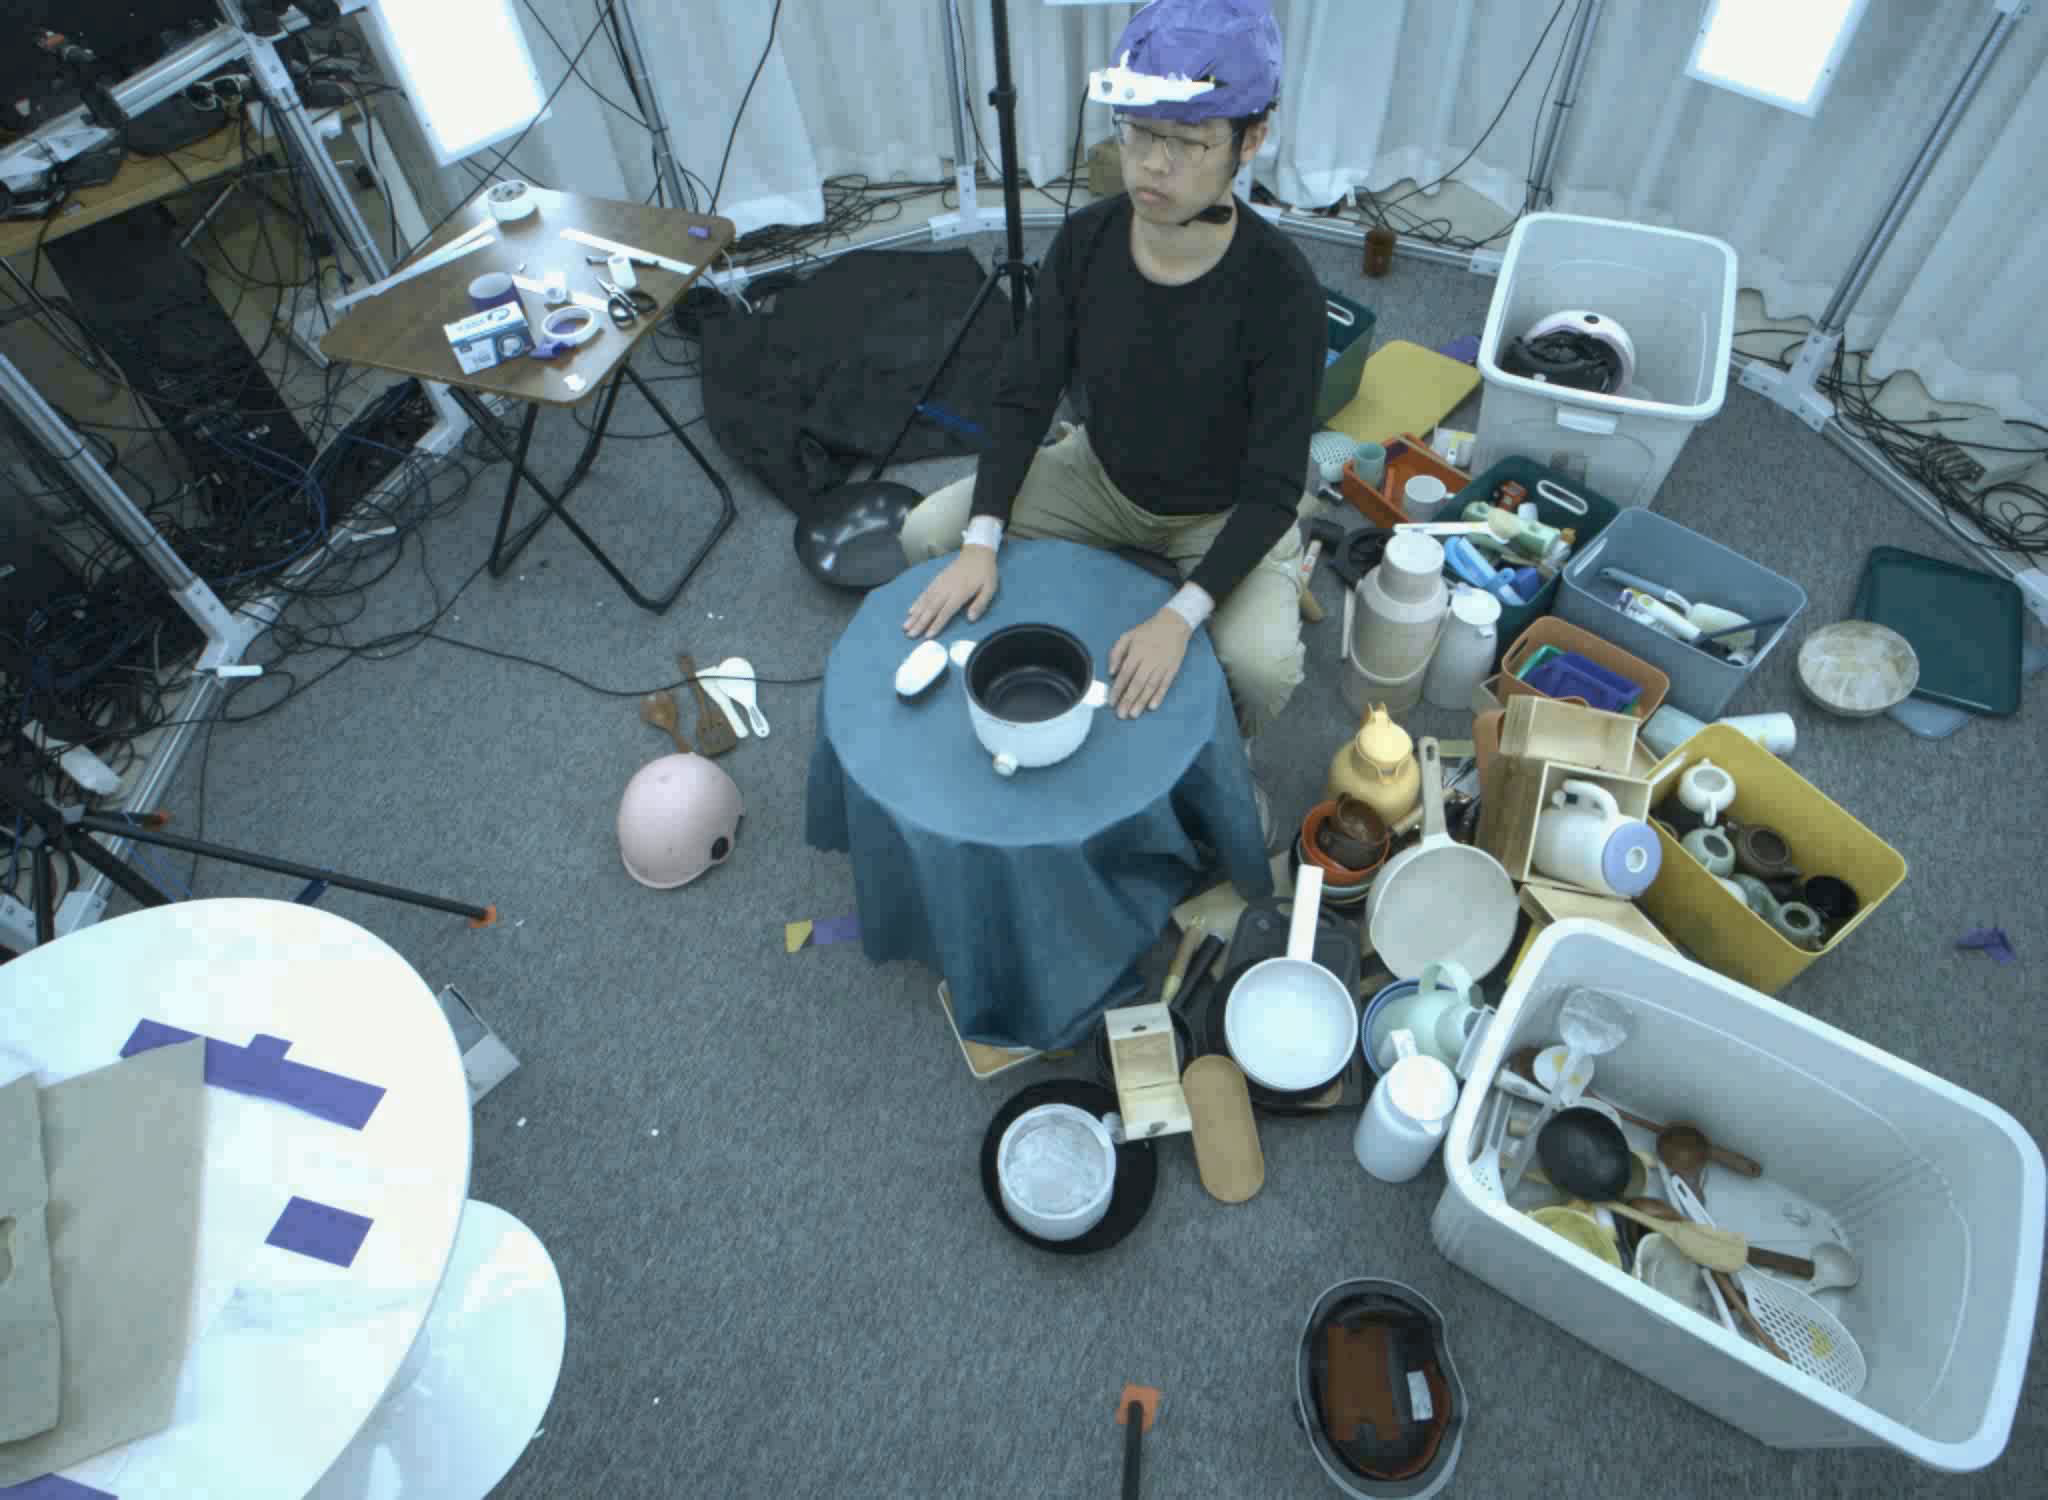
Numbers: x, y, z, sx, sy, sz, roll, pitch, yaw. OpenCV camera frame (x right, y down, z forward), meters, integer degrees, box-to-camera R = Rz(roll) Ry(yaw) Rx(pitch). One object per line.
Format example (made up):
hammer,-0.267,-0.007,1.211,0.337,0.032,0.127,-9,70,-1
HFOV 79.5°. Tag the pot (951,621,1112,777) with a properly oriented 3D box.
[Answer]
pot,0.010,-0.067,1.750,0.237,0.144,0.190,17,55,16

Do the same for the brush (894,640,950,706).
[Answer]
brush,-0.155,-0.123,1.835,0.049,0.073,0.100,32,62,22
